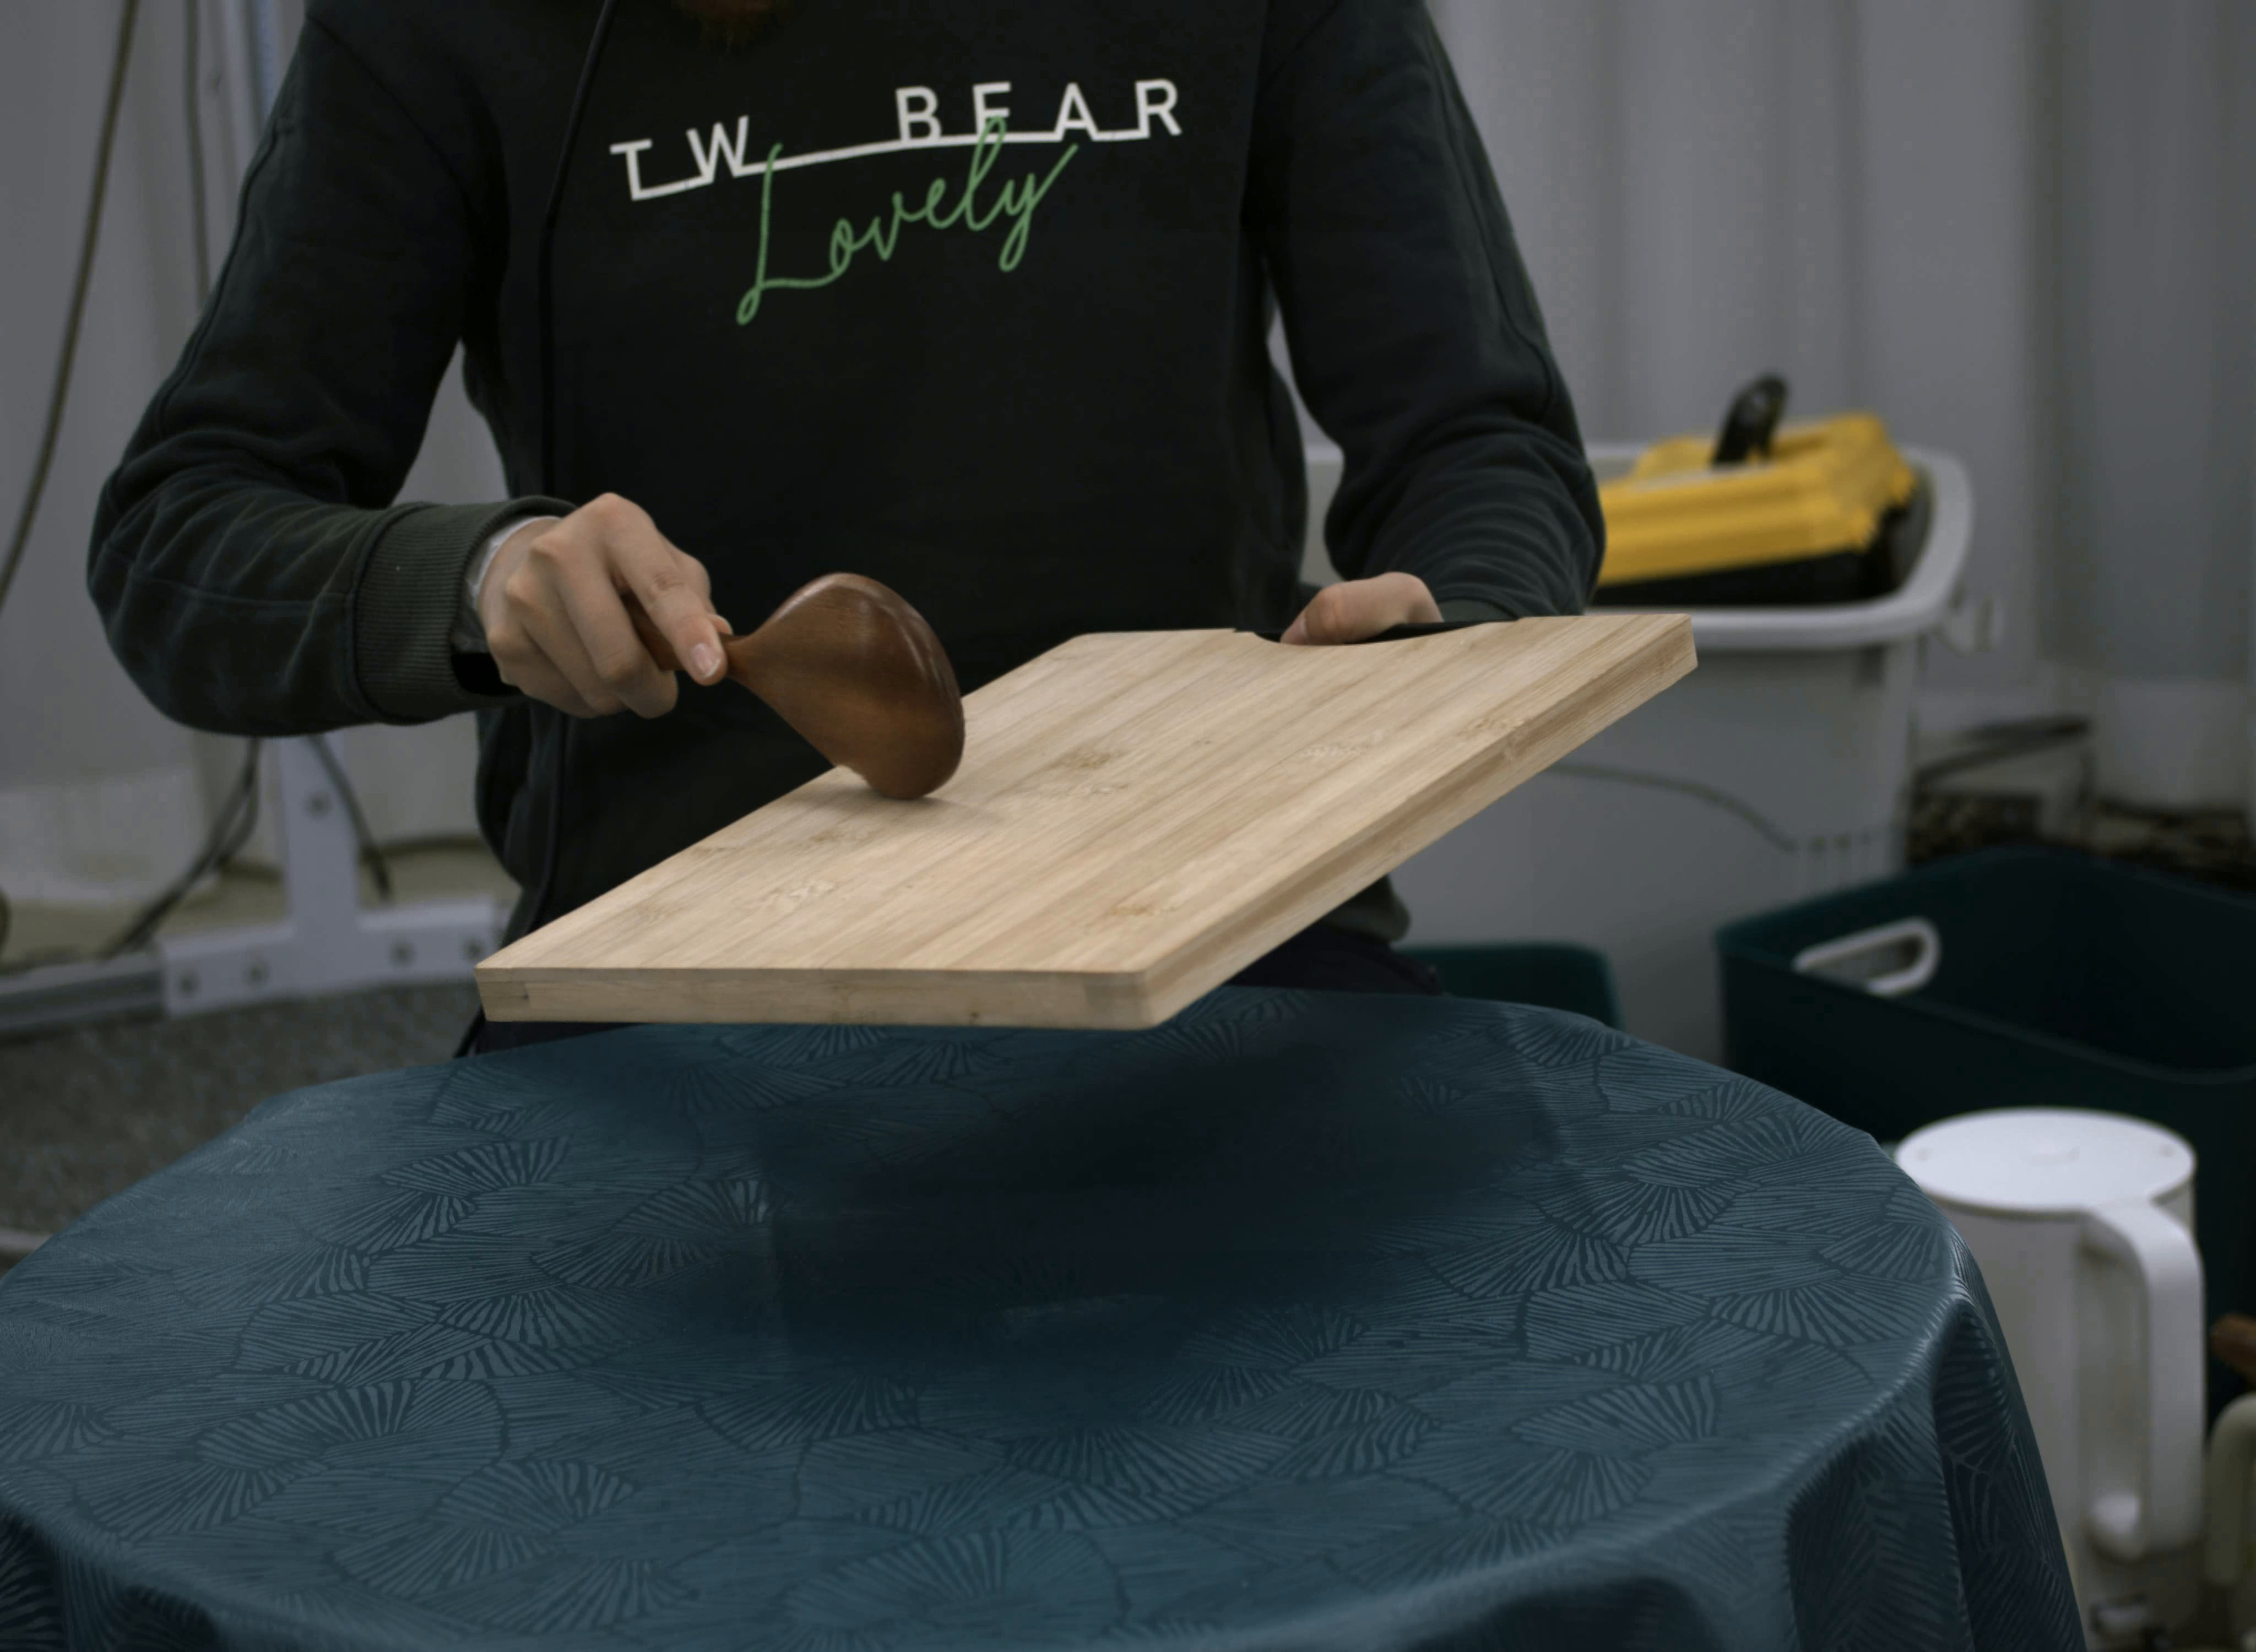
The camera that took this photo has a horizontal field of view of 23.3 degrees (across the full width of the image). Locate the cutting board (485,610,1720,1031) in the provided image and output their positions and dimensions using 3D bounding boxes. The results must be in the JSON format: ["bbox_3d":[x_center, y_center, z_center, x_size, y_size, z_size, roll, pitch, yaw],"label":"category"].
[{"bbox_3d":[-0.002,-0.006,1.692,0.251,0.023,0.349,0,18,33],"label":"cutting board"}]

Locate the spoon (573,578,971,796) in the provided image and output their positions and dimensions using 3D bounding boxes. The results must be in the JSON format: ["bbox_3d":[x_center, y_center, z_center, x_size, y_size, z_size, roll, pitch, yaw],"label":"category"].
[{"bbox_3d":[-0.118,-0.051,1.754,0.017,0.075,0.217,-26,23,-30],"label":"spoon"}]
